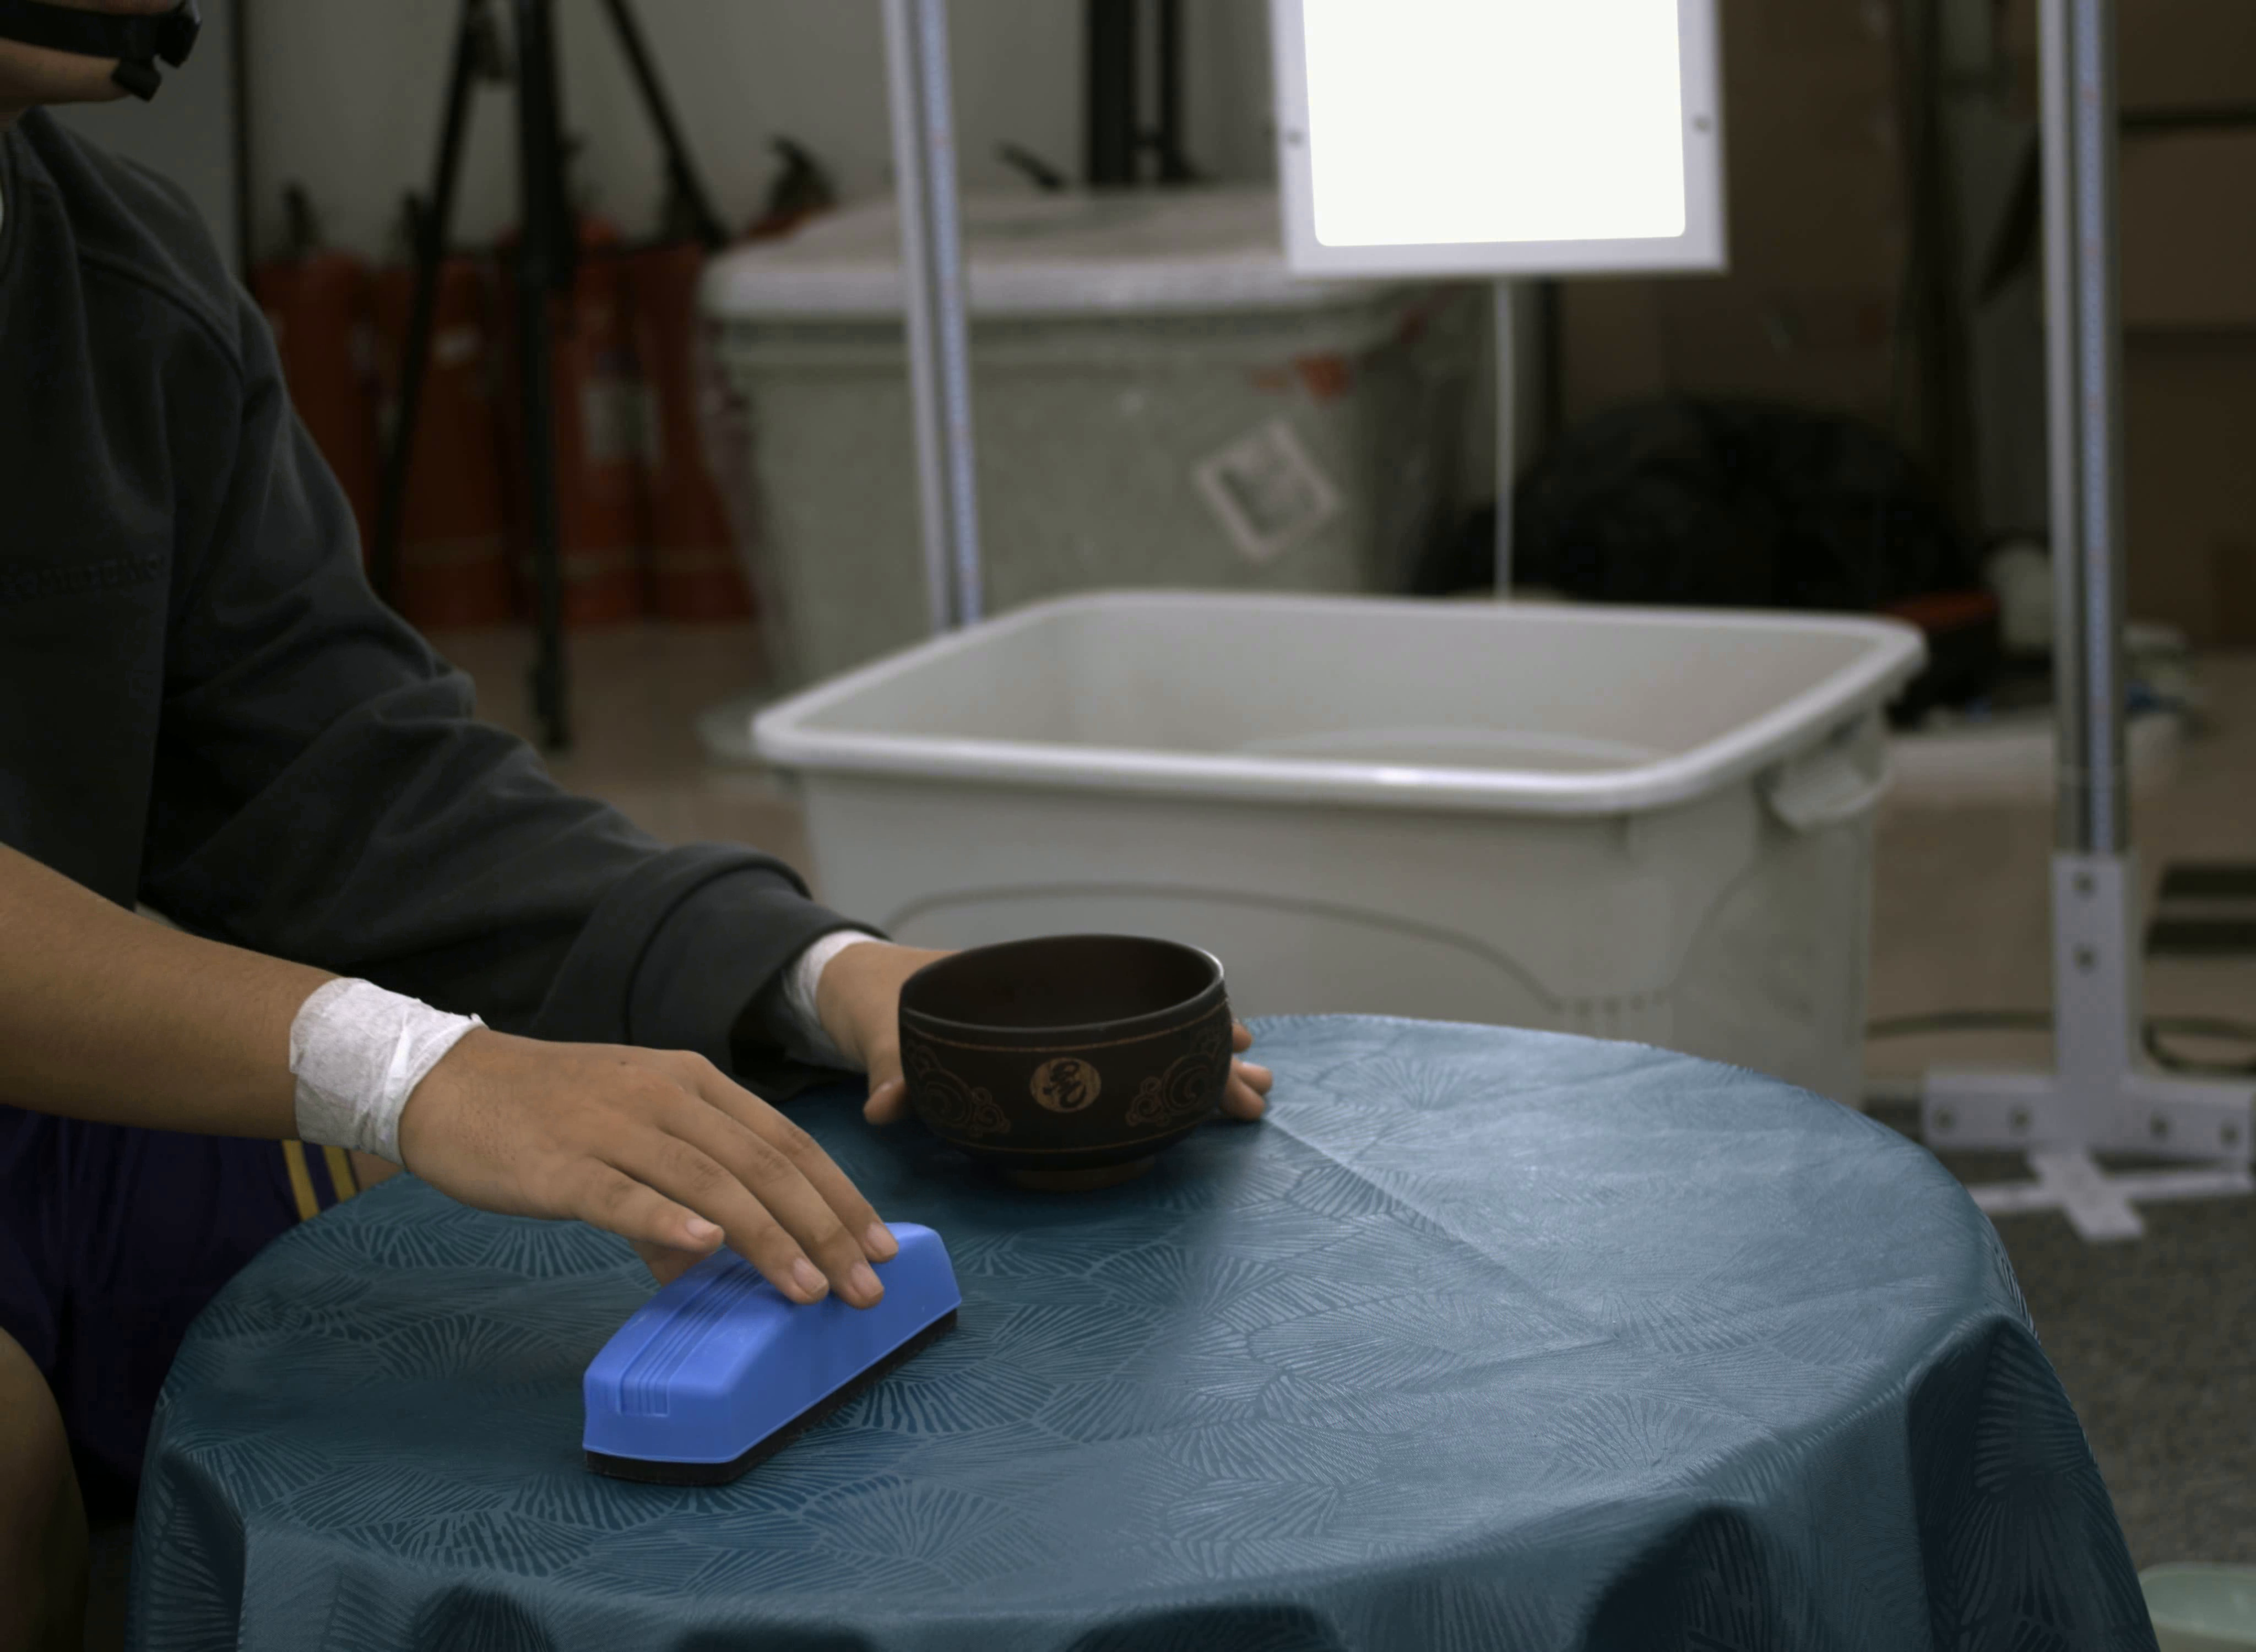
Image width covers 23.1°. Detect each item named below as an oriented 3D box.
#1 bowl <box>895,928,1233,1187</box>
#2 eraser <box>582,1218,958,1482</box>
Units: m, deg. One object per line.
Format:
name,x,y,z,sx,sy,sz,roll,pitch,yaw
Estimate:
bowl,-0.021,0.084,1.920,0.118,0.070,0.118,-6,15,0
eraser,-0.110,0.156,1.719,0.055,0.048,0.159,5,16,25
